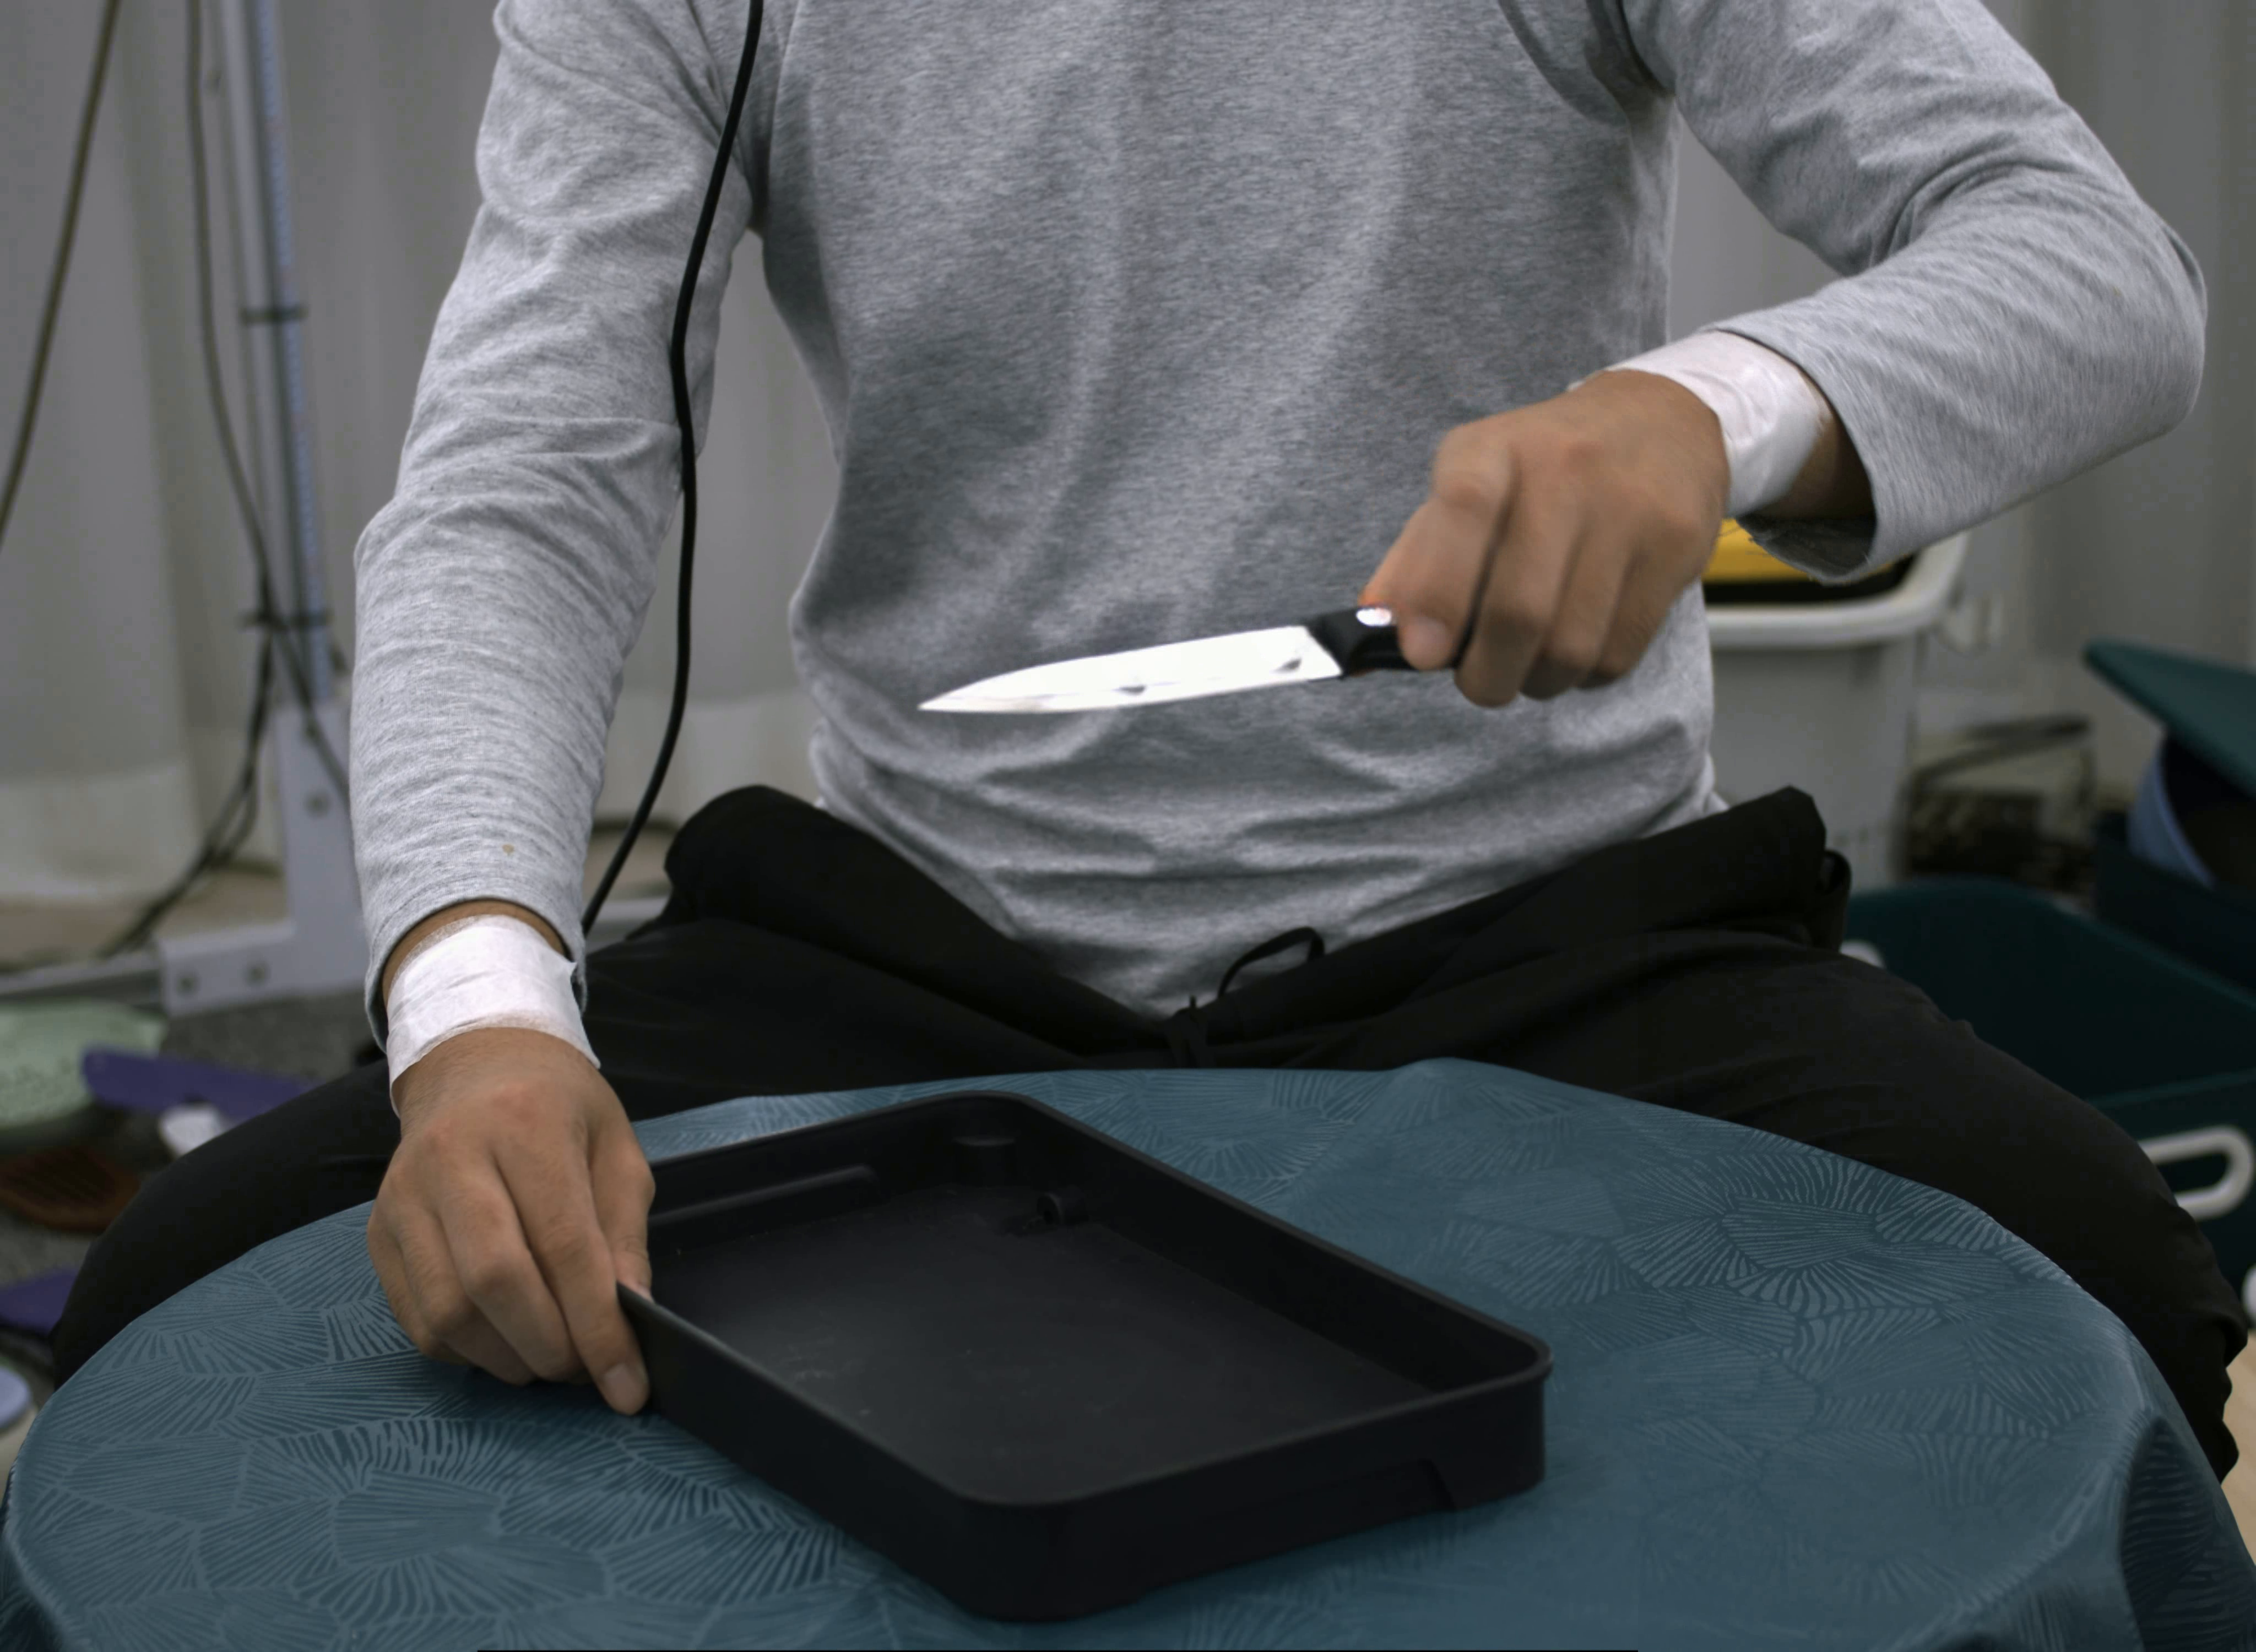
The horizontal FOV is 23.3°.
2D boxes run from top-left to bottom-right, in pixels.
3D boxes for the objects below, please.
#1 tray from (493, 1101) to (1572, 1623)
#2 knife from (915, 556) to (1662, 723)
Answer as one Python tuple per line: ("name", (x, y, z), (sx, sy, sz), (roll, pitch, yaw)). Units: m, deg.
("tray", (-0.034, 0.145, 1.543), (0.183, 0.037, 0.320), (-11, 16, -31))
("knife", (0.046, -0.051, 1.523), (0.237, 0.016, 0.025), (-11, 48, -27))
